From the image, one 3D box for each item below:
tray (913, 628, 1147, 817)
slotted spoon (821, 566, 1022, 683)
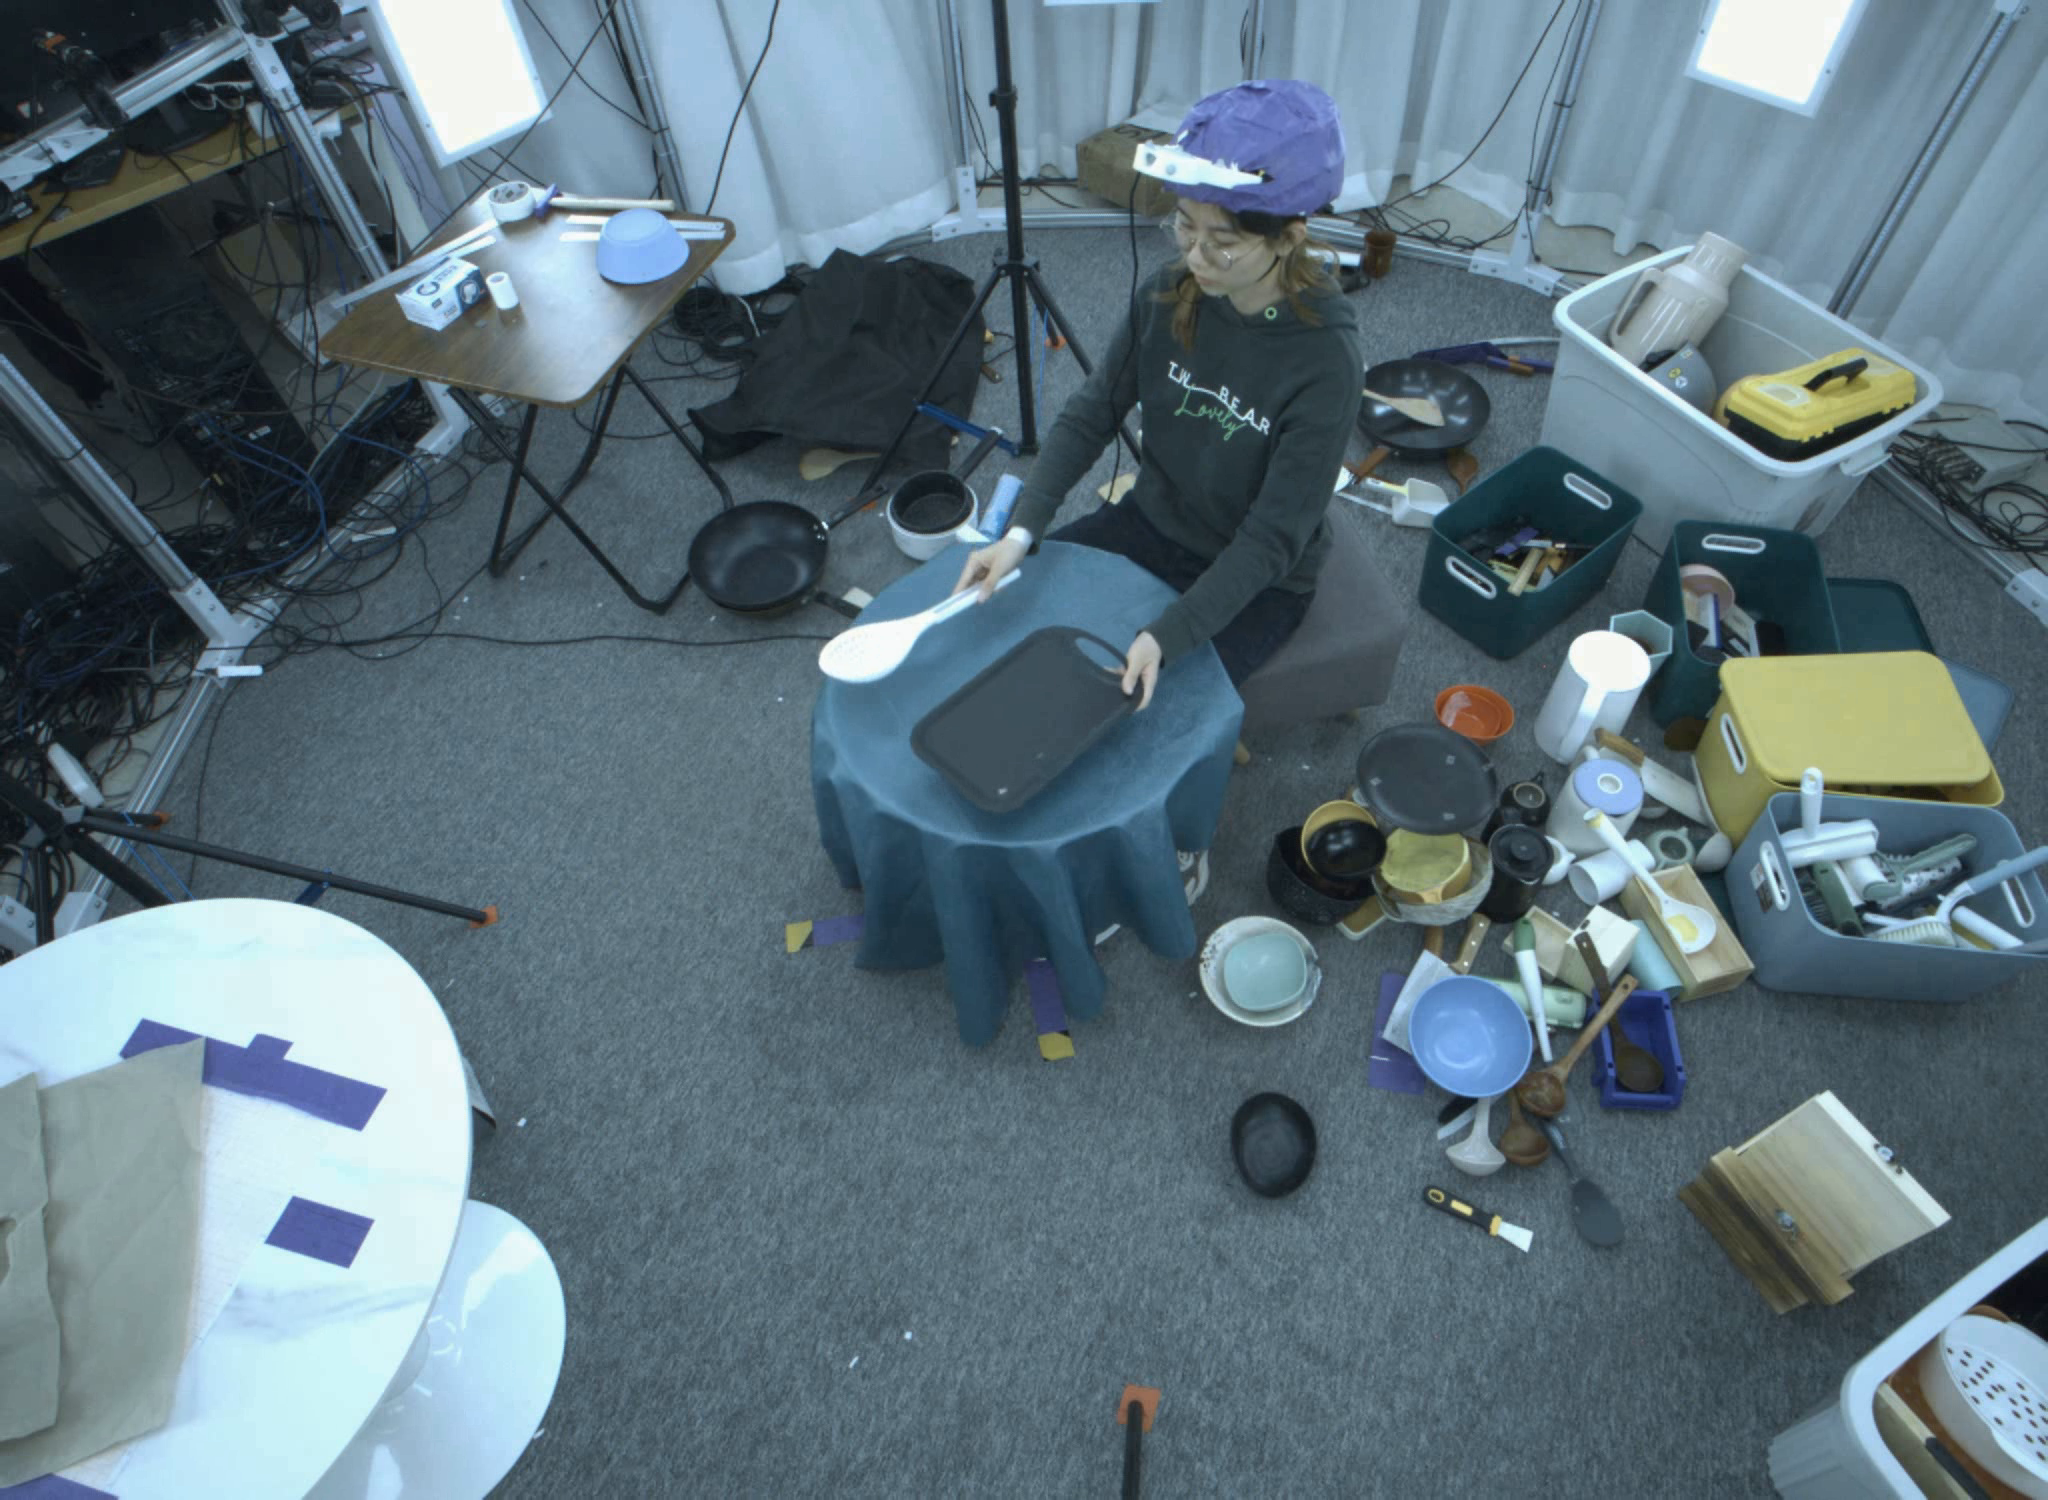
[{"bbox_3d":[0.014,-0.052,1.727,0.327,0.010,0.207,-39,62,-22],"label":"tray"},{"bbox_3d":[-0.147,-0.194,1.841,0.352,0.046,0.133,-36,45,-21],"label":"slotted spoon"}]
